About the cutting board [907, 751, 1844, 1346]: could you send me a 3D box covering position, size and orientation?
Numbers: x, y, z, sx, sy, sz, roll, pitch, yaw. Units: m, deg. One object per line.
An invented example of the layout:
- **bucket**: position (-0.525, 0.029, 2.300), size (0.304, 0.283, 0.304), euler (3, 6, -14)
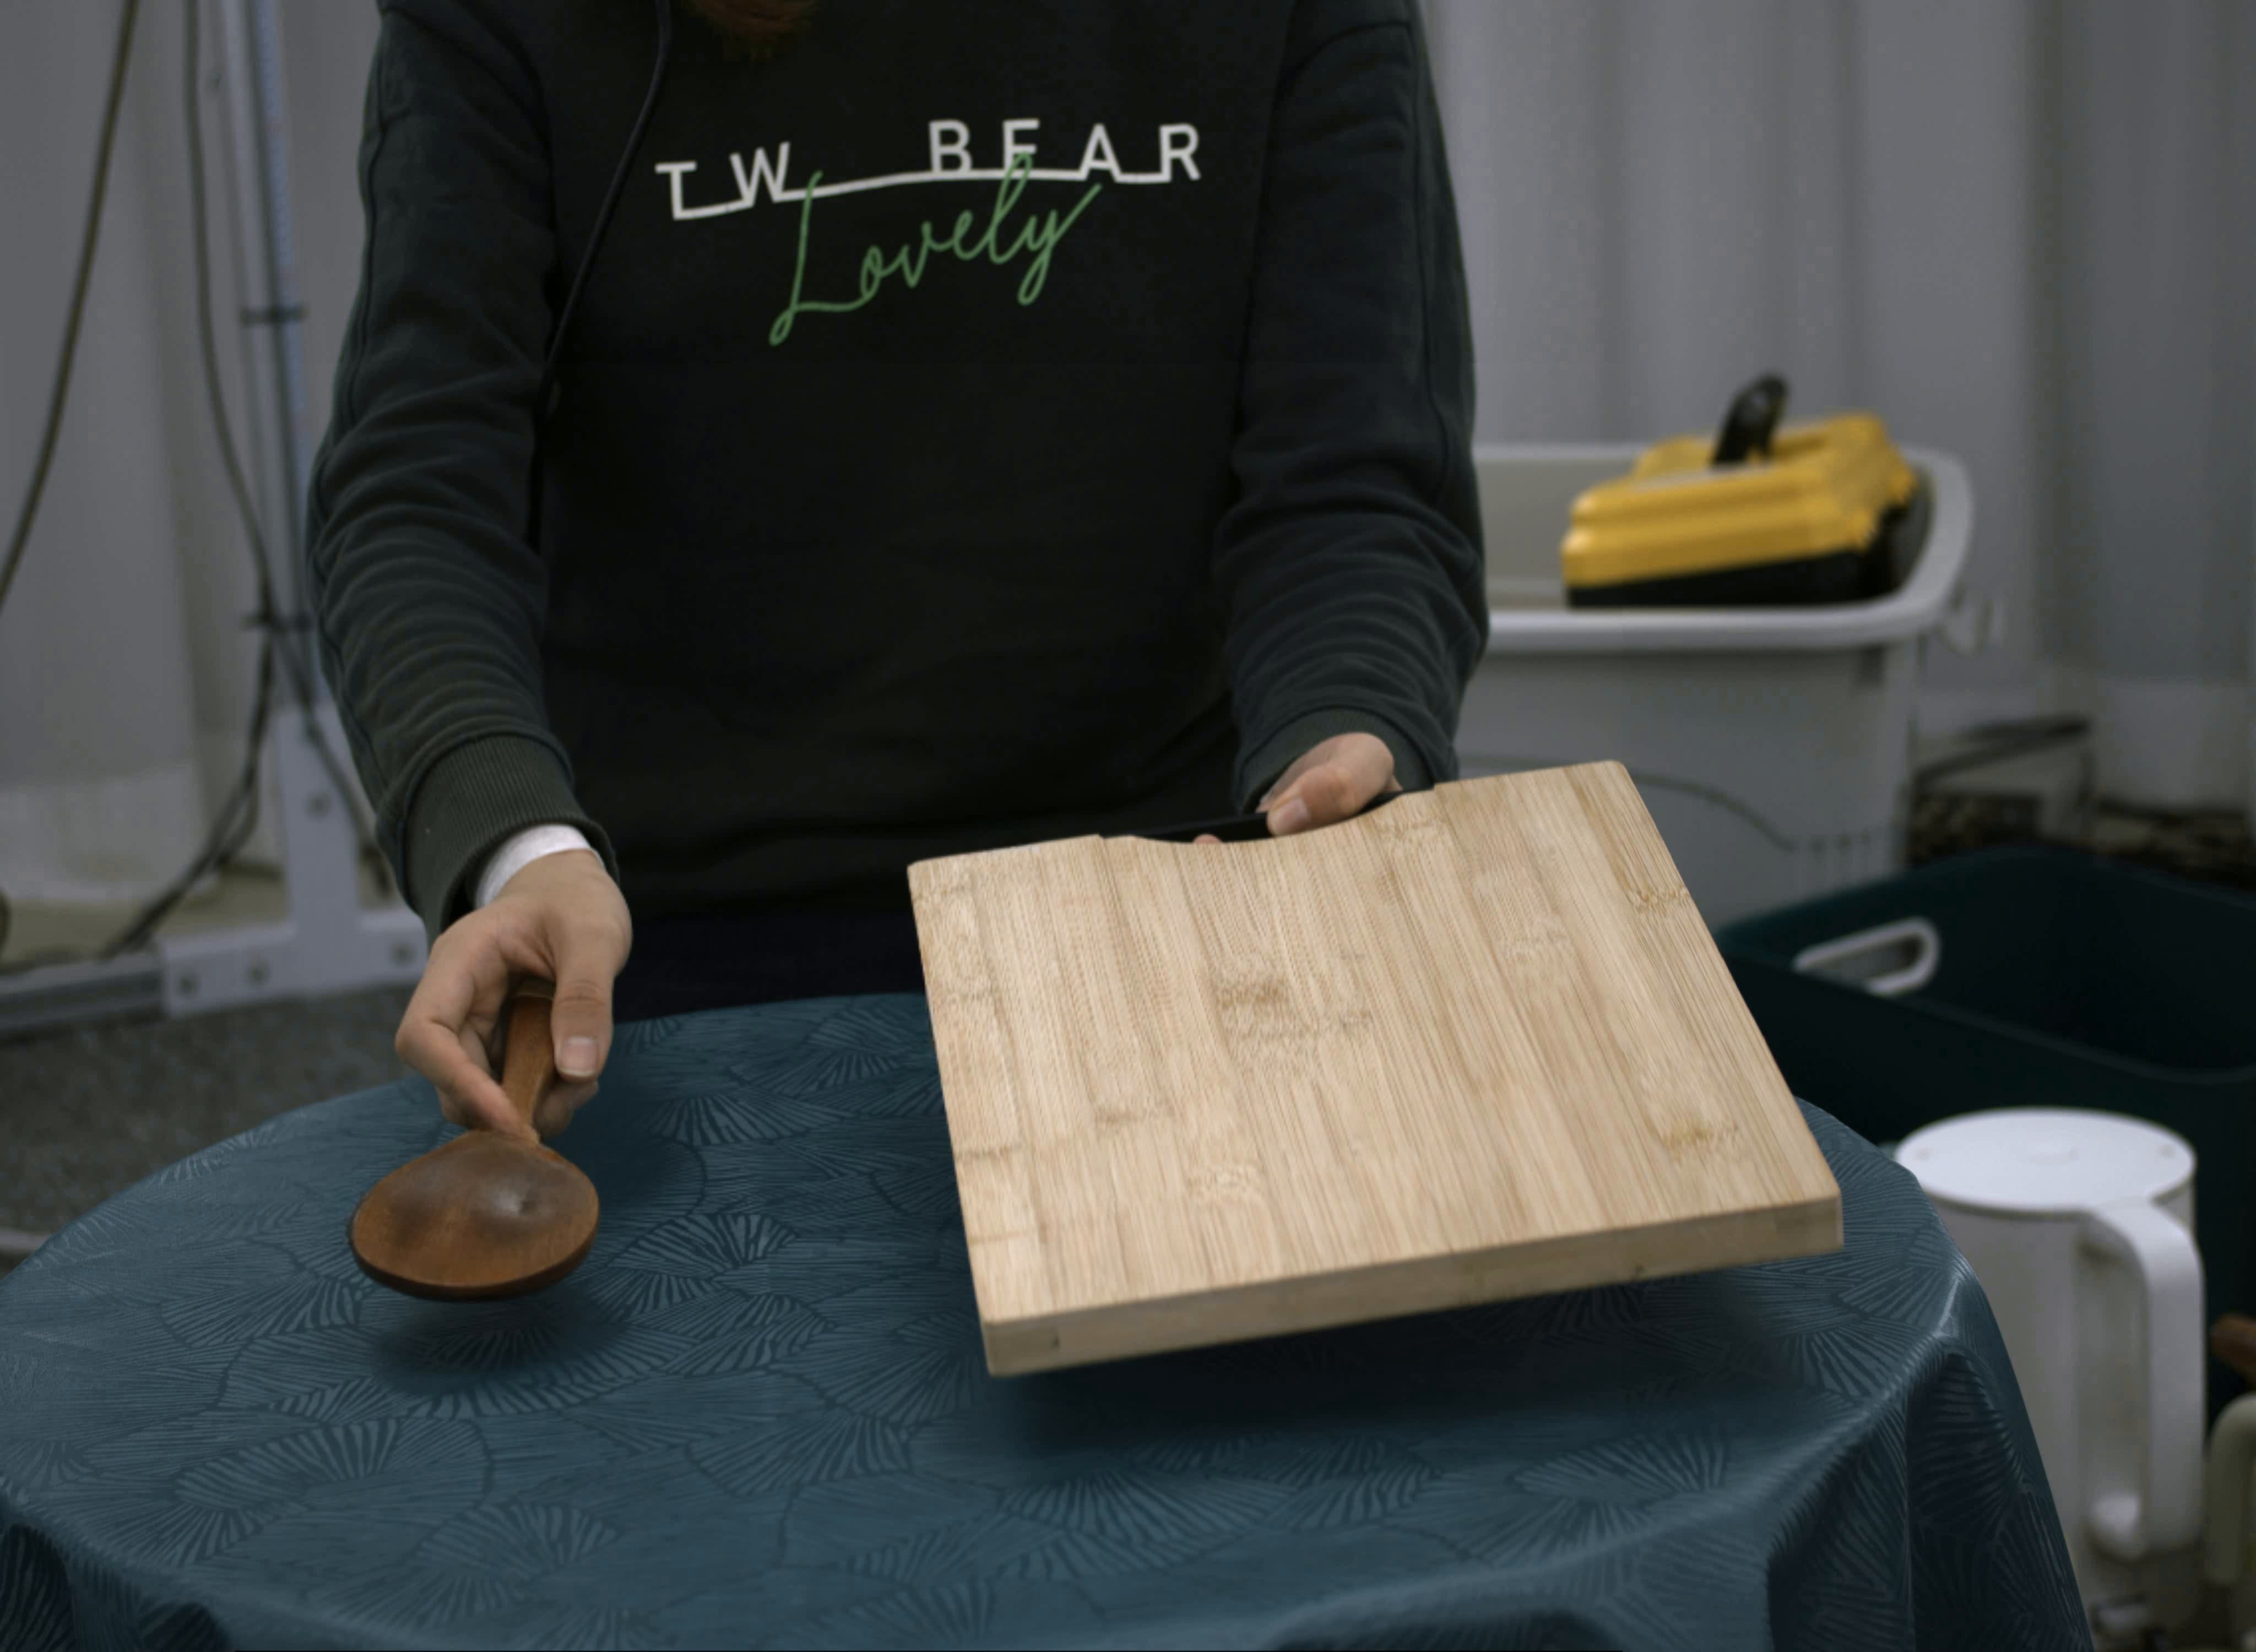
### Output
- **cutting board**: position (0.062, 0.061, 1.658), size (0.250, 0.023, 0.352), euler (-8, 21, -4)

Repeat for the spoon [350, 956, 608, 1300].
- **spoon**: position (-0.188, 0.093, 1.674), size (0.075, 0.017, 0.218), euler (-1, 24, 3)
